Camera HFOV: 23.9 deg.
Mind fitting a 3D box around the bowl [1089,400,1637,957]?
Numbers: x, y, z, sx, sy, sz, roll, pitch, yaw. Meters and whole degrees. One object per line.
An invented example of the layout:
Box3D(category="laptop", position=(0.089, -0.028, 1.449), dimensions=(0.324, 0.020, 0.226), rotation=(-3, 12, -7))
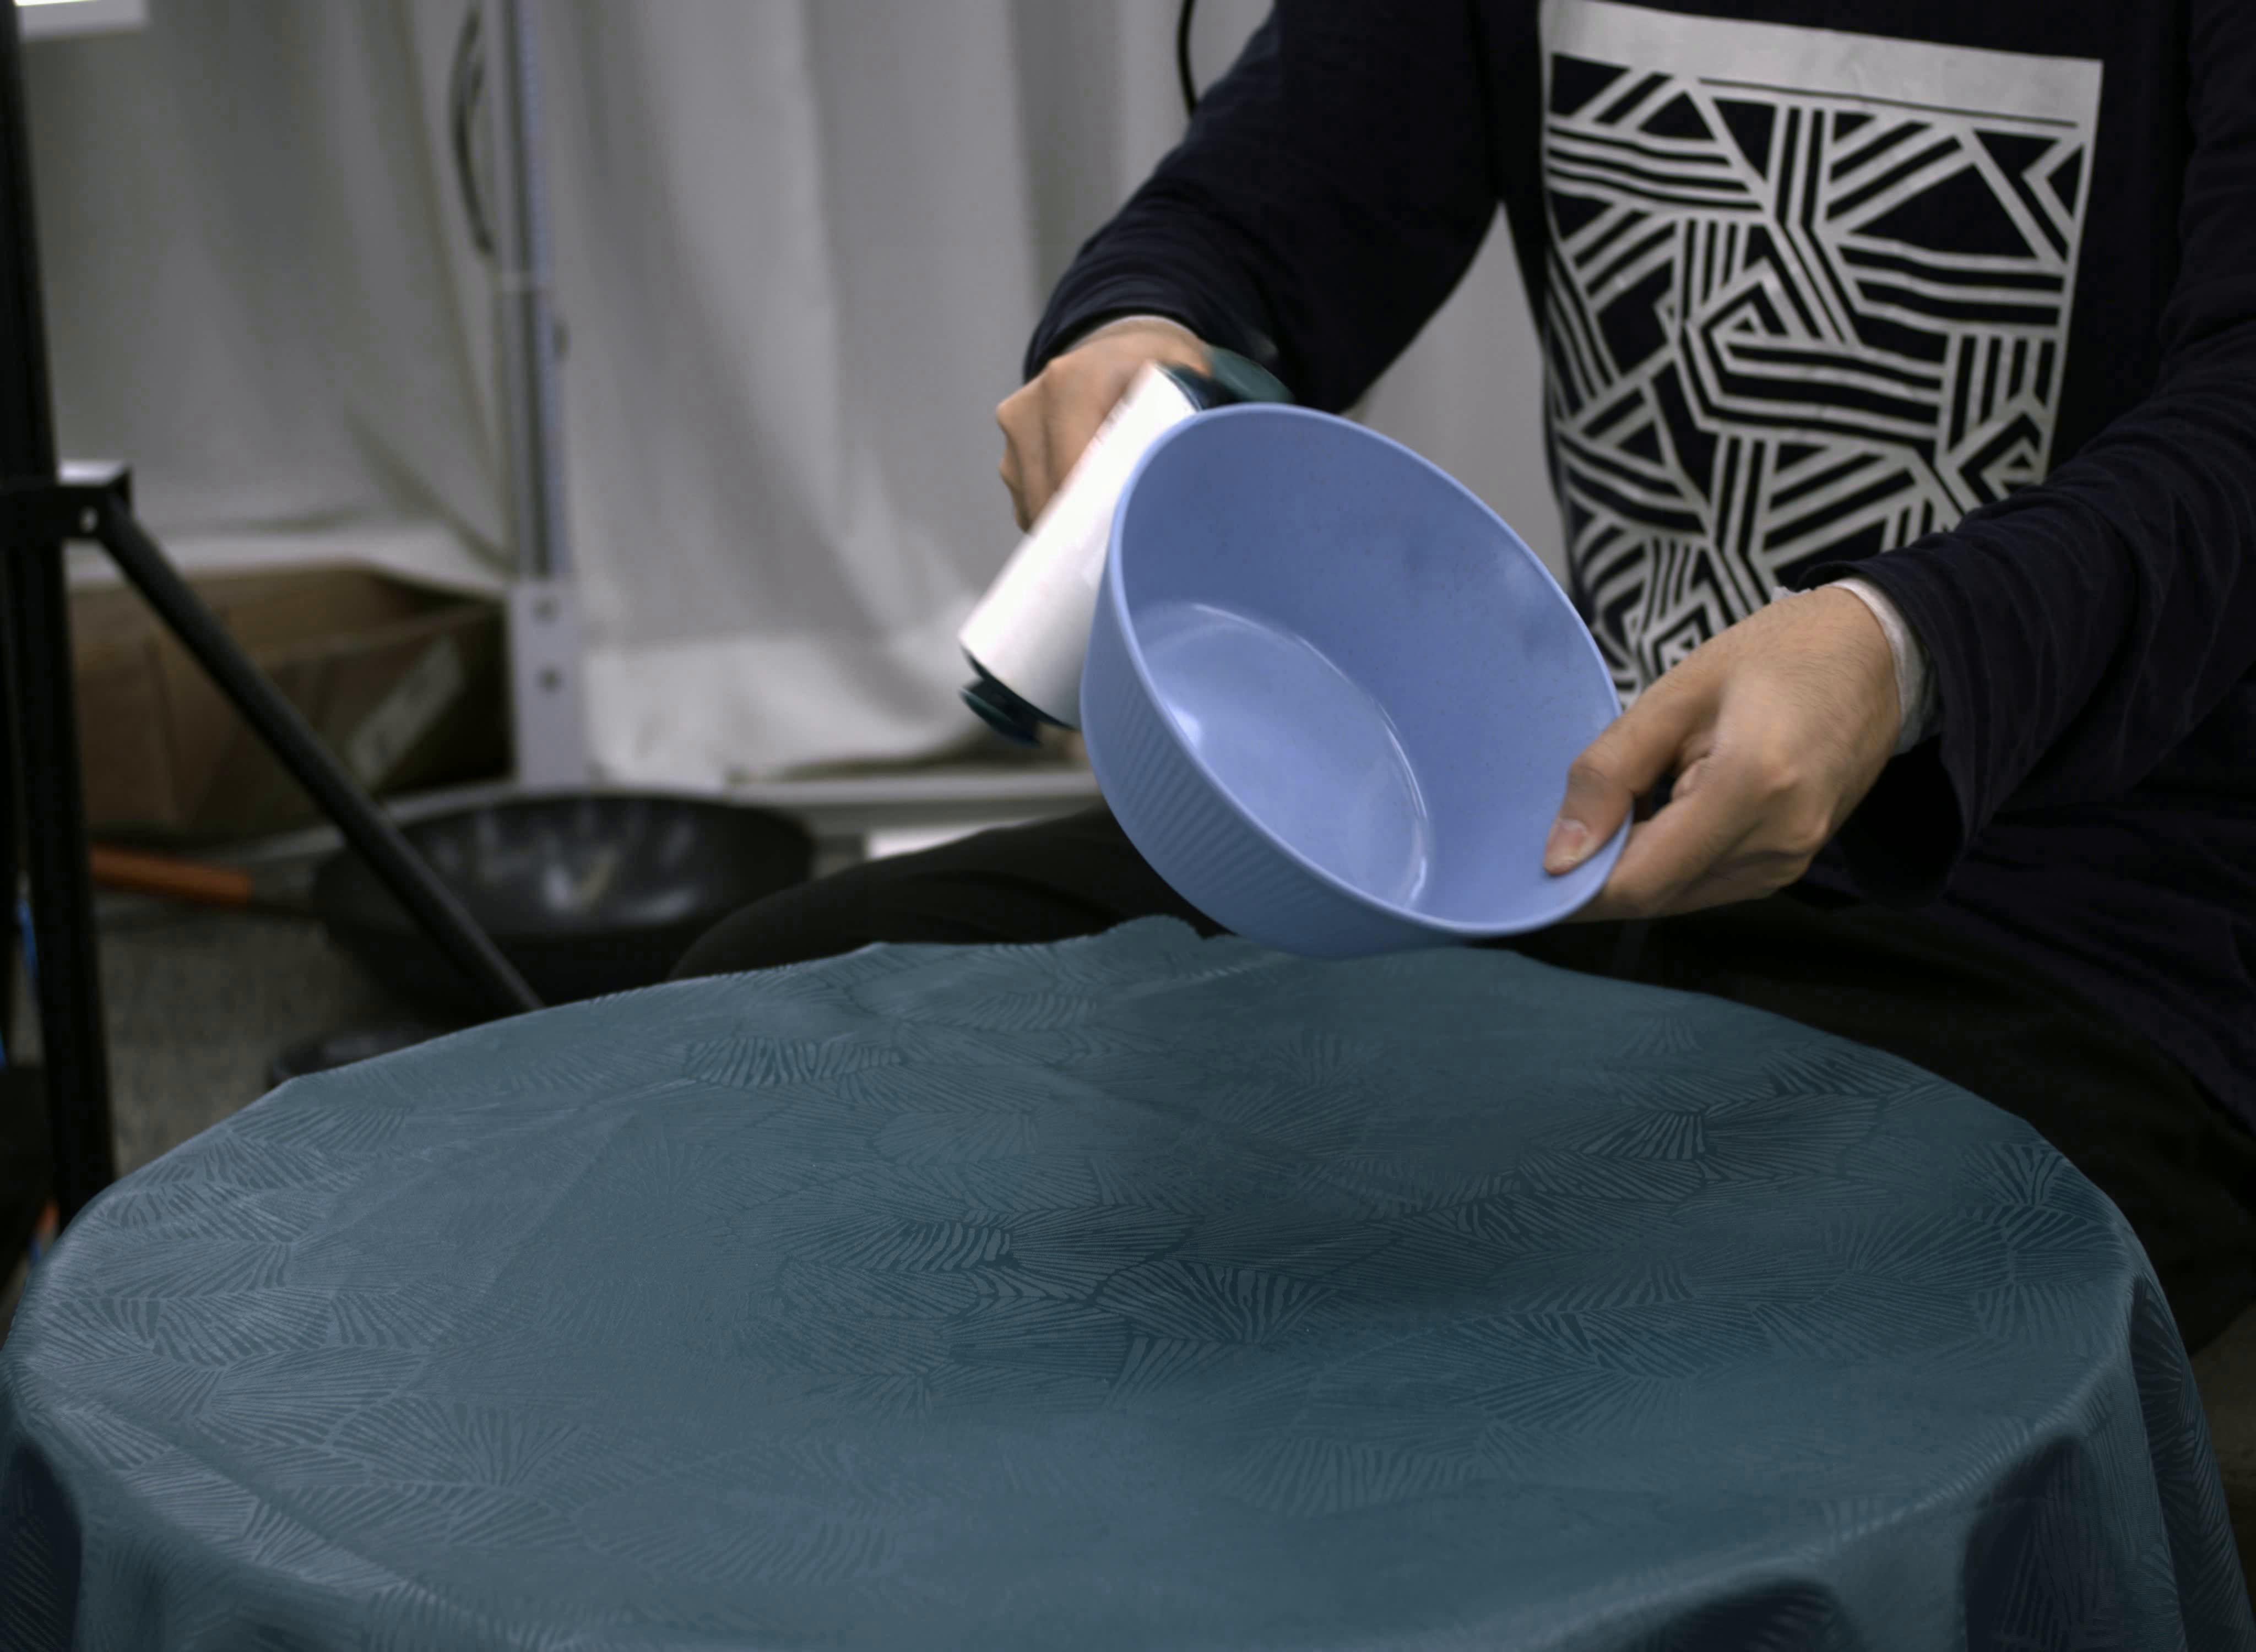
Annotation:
Box3D(category="bowl", position=(0.055, -0.030, 1.496), dimensions=(0.172, 0.178, 0.071), rotation=(-19, -20, -45))

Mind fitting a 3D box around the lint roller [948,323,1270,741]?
Box3D(category="lint roller", position=(-0.005, -0.099, 1.613), dimensions=(0.048, 0.135, 0.180), rotation=(33, 11, -7))
